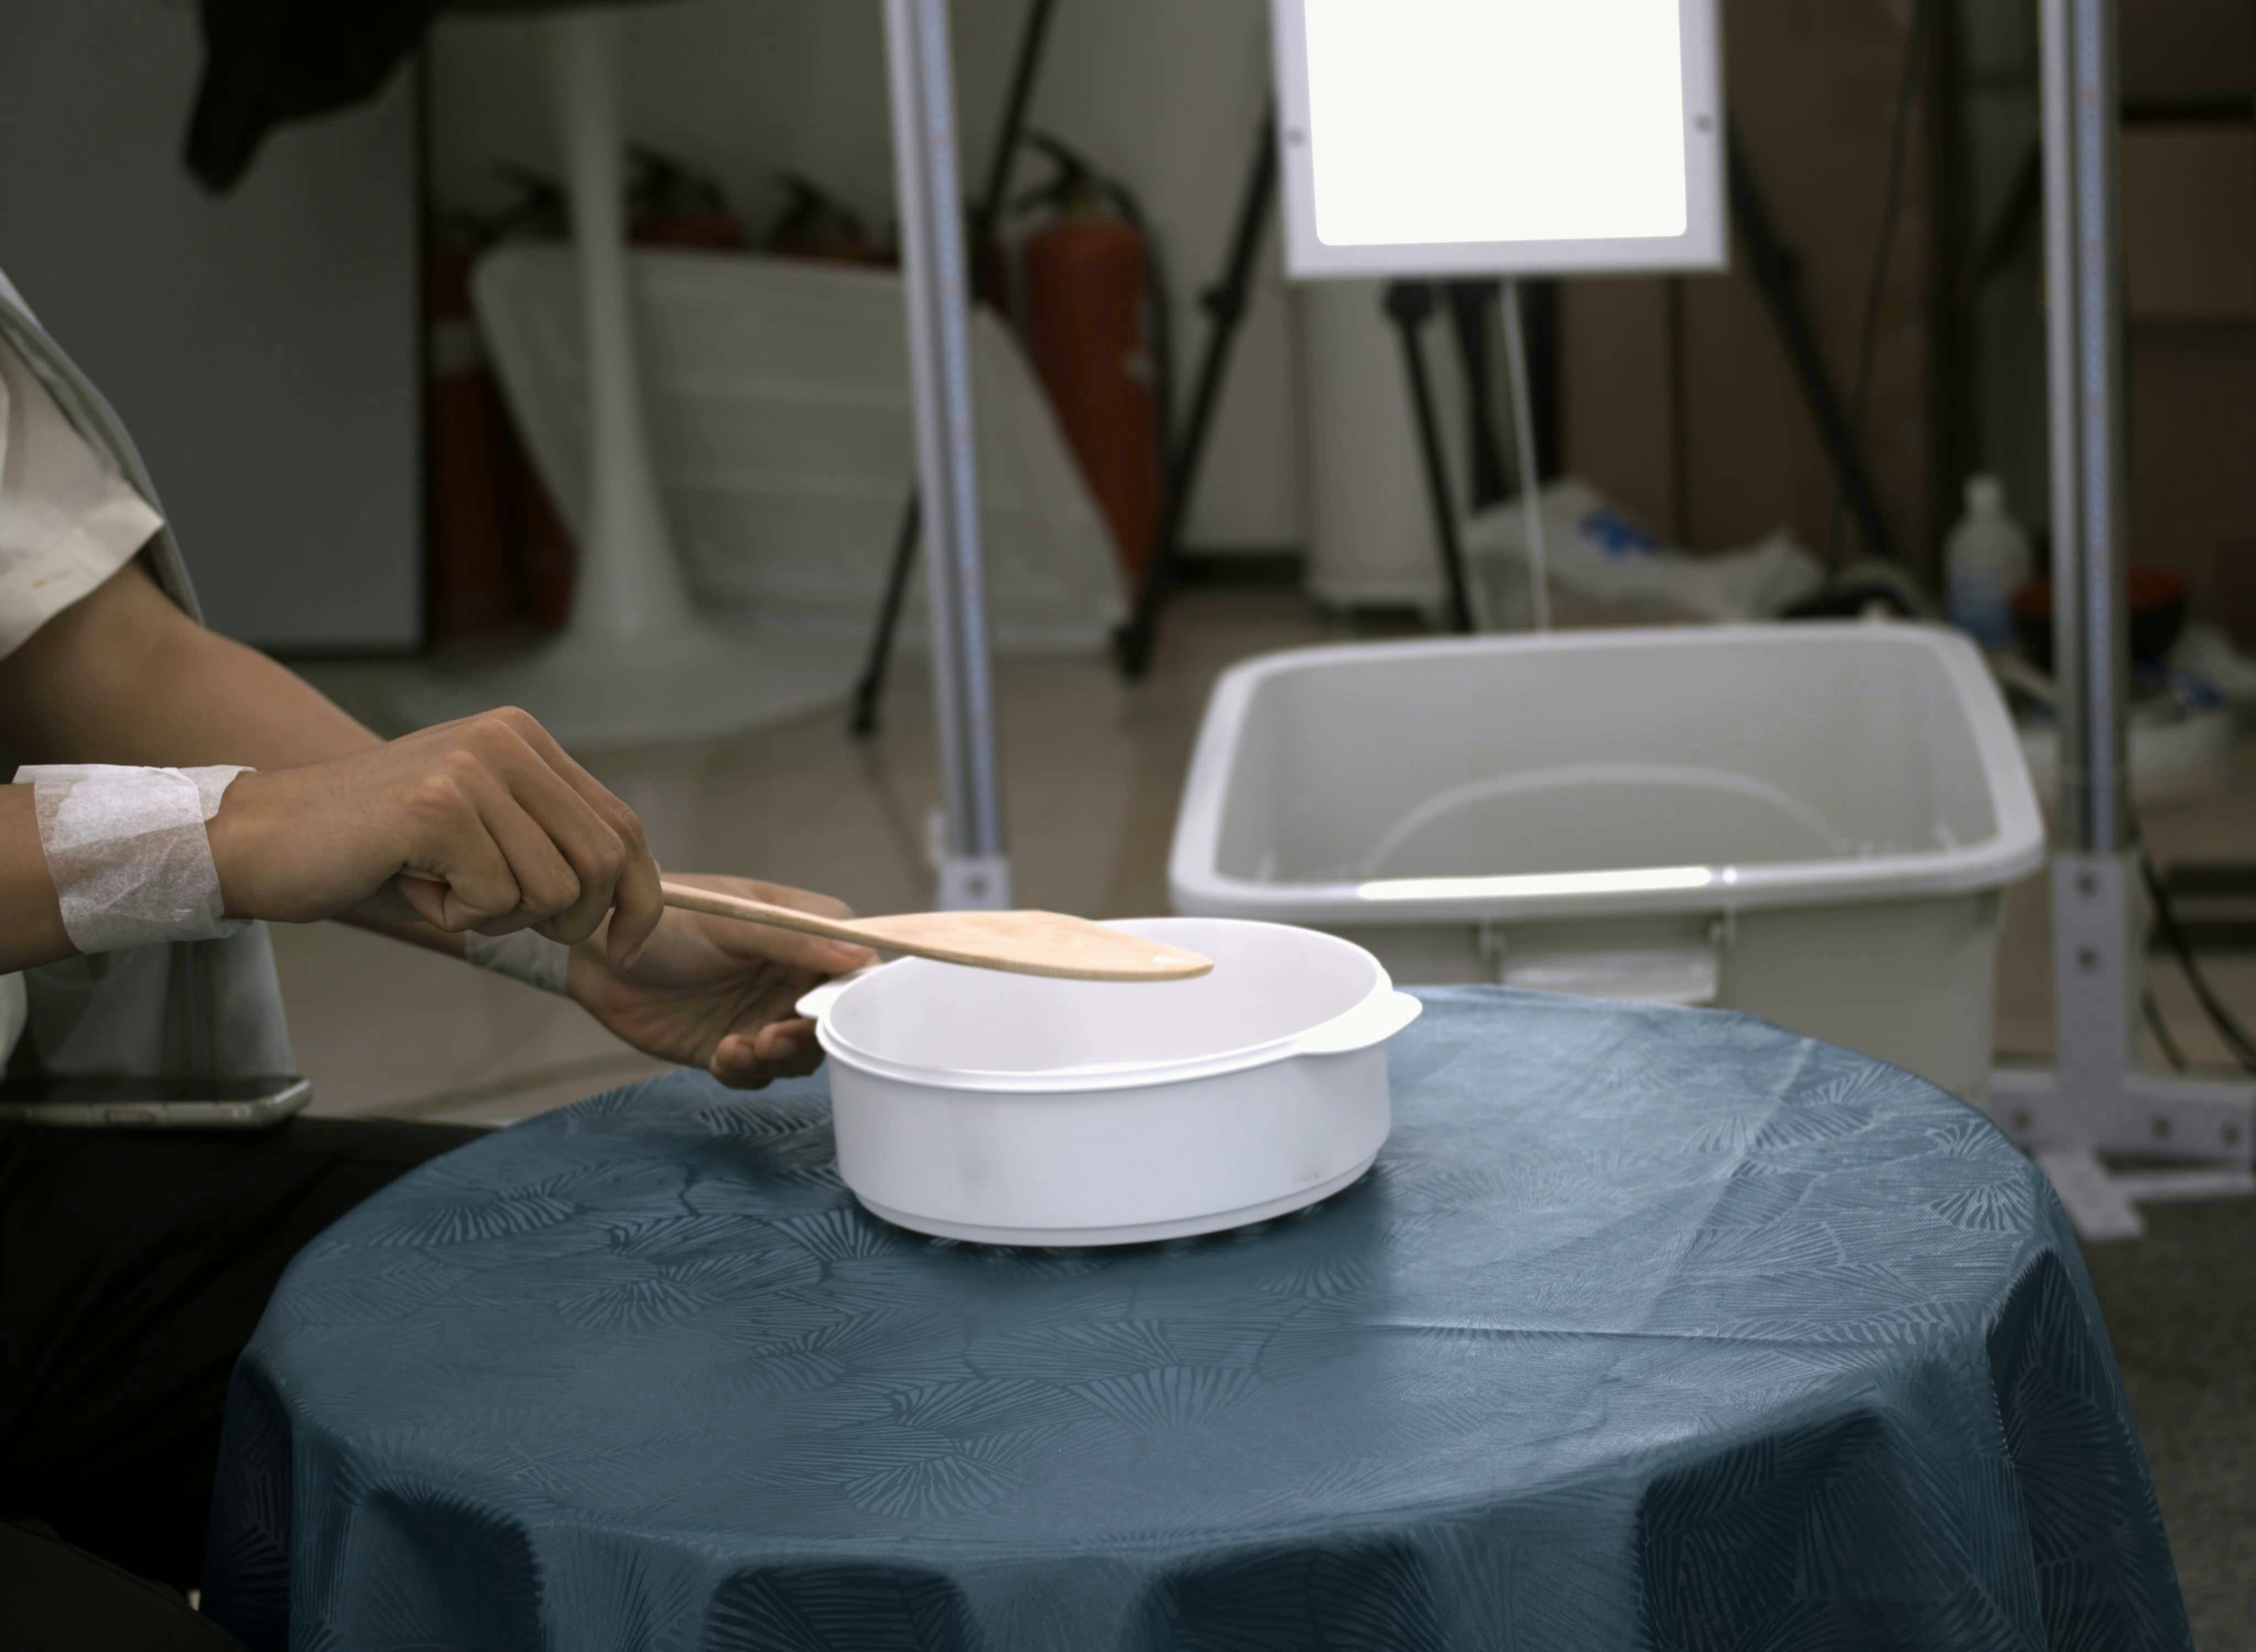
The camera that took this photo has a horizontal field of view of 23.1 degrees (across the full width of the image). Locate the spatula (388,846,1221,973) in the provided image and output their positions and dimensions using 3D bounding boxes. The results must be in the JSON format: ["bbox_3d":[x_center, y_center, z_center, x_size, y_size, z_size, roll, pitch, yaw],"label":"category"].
[{"bbox_3d":[-0.108,0.025,1.800,0.319,0.016,0.081,9,7,-42],"label":"spatula"}]

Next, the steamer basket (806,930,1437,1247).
[{"bbox_3d":[-0.002,0.091,1.906,0.235,0.069,0.197,2,14,30],"label":"steamer basket"}]
